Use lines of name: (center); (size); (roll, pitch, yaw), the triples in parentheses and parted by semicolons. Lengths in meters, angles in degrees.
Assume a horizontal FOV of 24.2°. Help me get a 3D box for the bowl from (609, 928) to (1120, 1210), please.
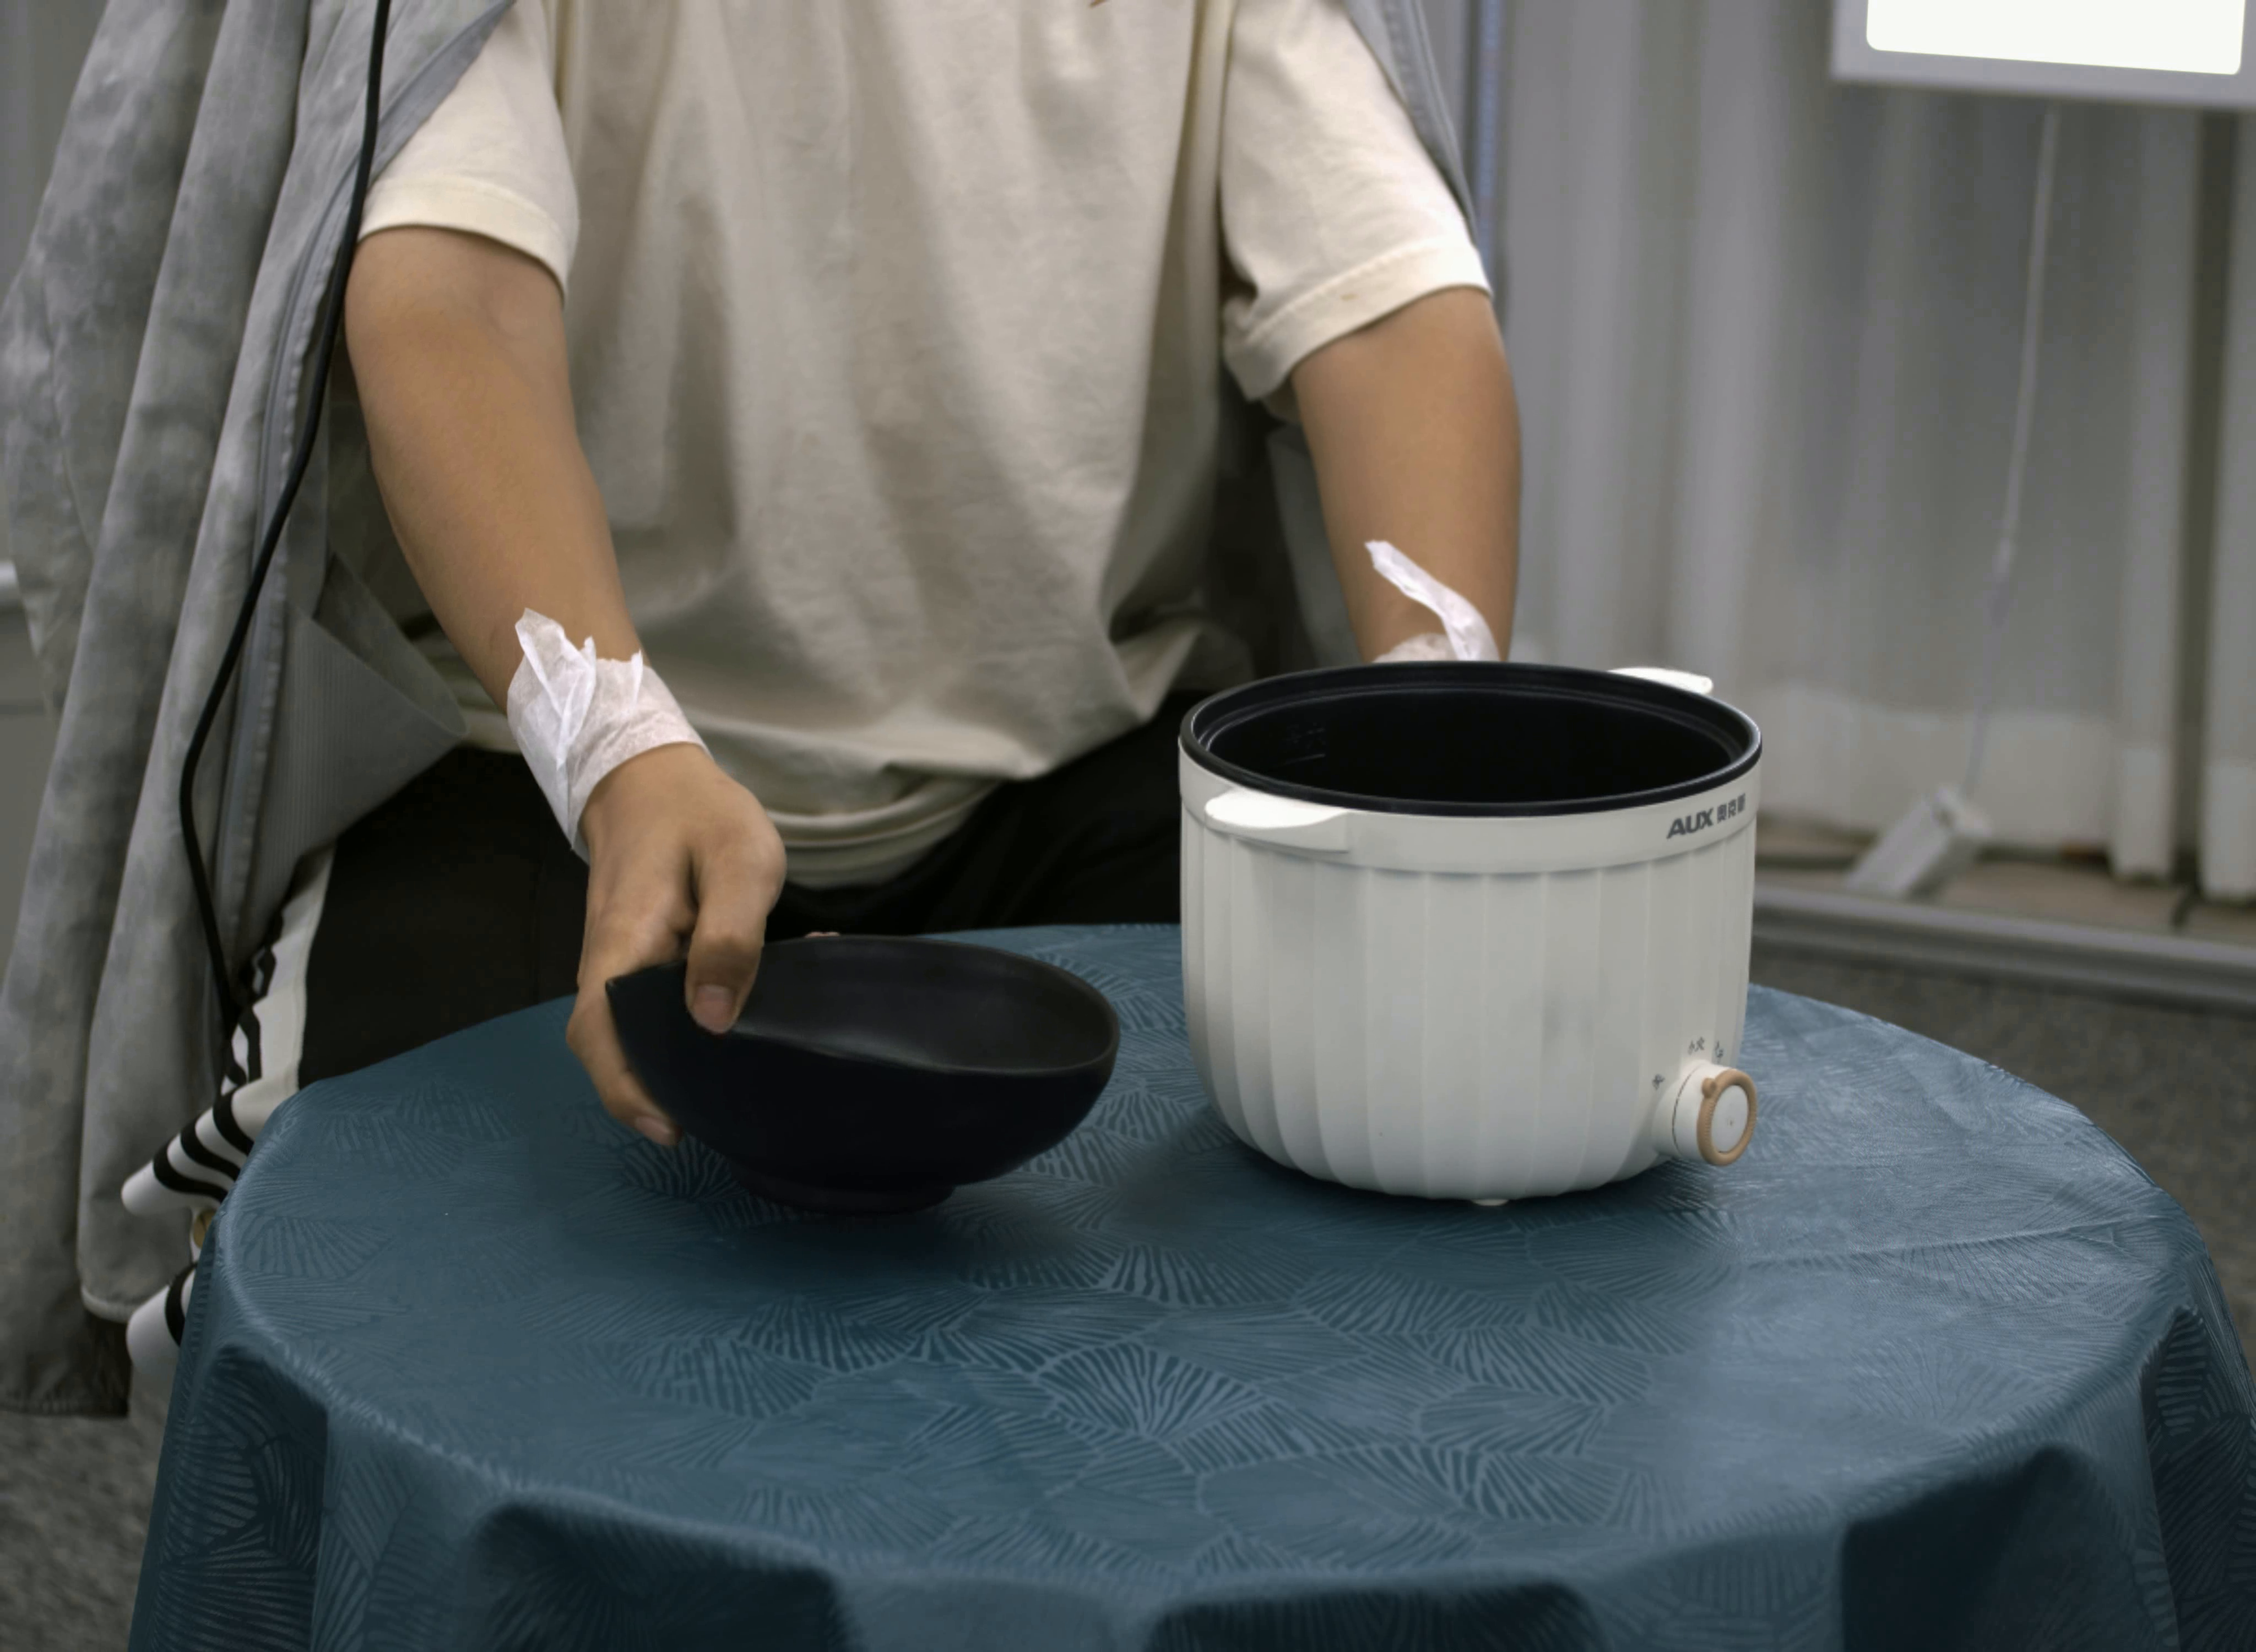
bowl: (-0.083, 0.076, 1.592); (0.168, 0.067, 0.138); (12, 16, 33)

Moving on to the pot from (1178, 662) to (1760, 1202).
pot: (0.111, 0.034, 1.652); (0.188, 0.144, 0.241); (9, 18, 37)
